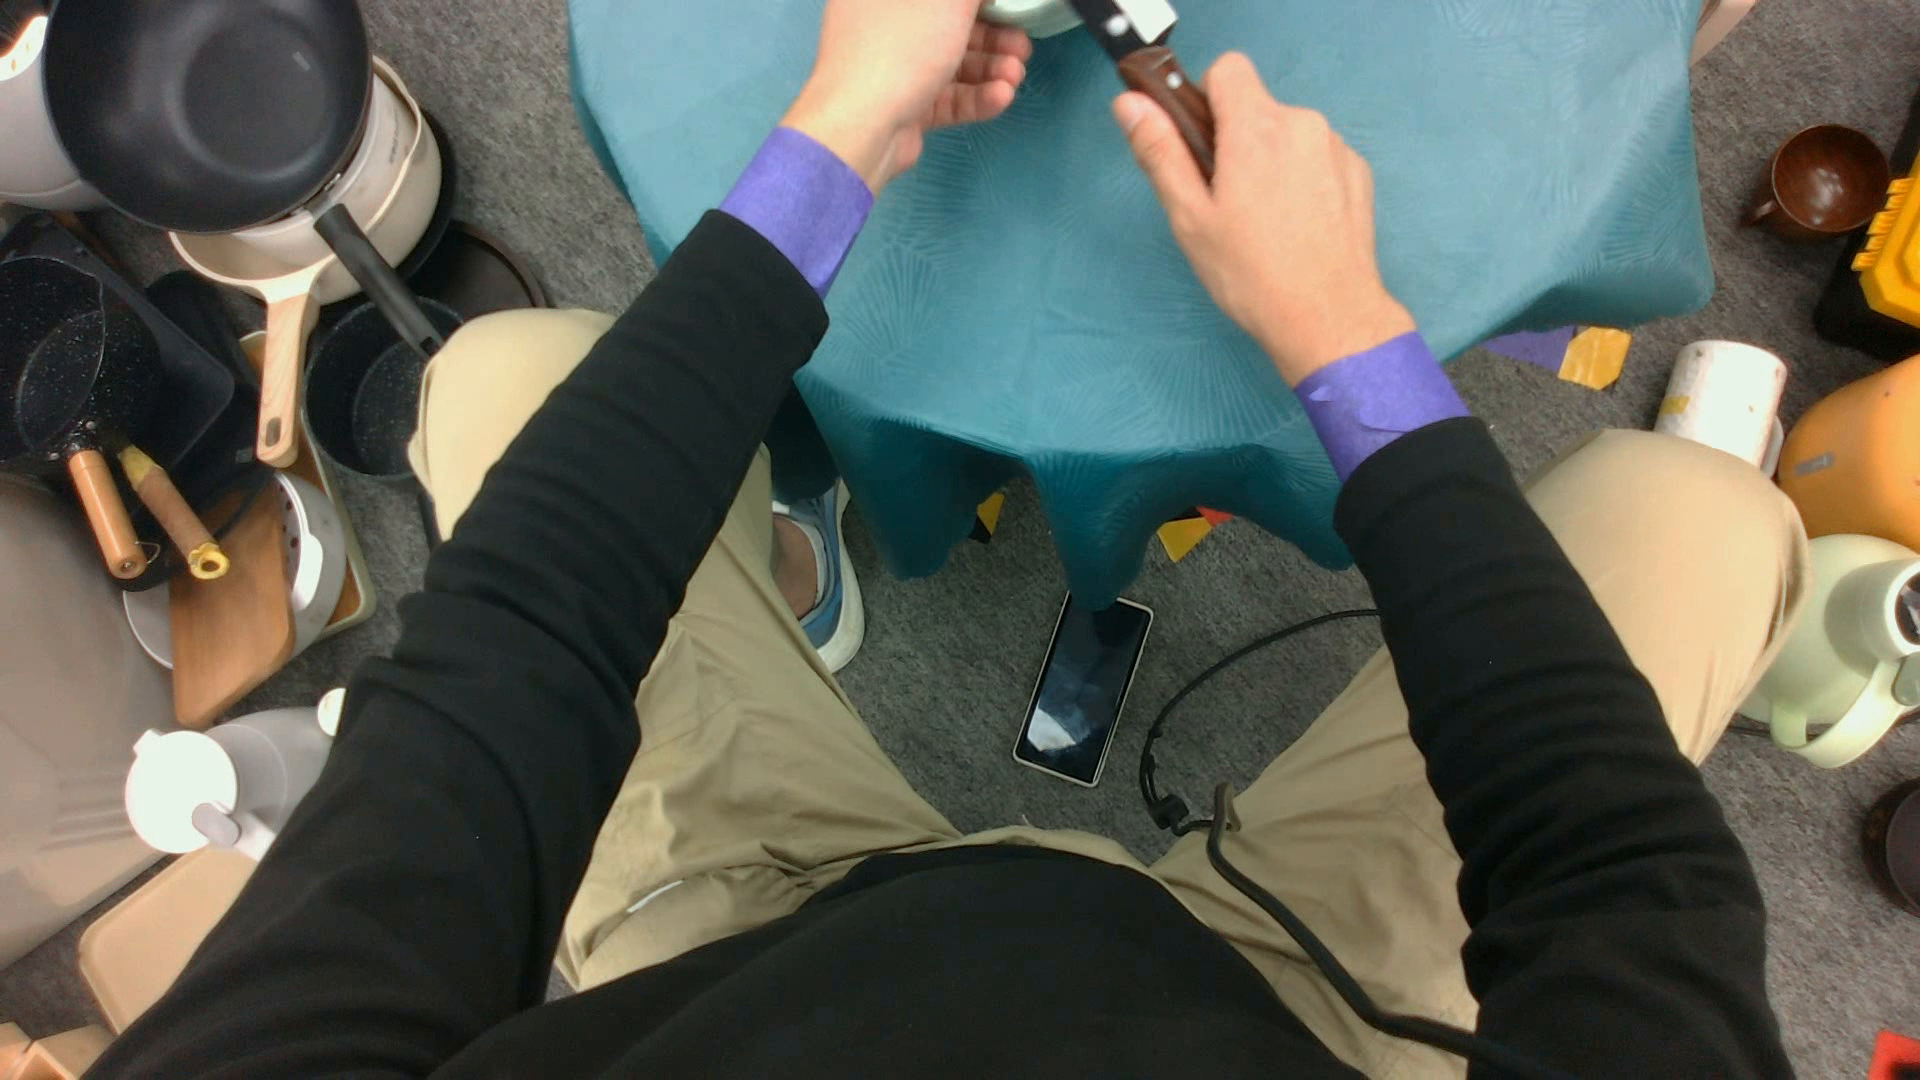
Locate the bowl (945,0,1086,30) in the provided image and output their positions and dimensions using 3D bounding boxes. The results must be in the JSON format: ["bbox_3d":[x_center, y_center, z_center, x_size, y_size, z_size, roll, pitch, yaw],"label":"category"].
[{"bbox_3d":[0.034,-0.309,0.676,0.151,0.058,0.152,-4,71,13],"label":"bowl"}]

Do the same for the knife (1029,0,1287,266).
[{"bbox_3d":[0.054,-0.238,0.616,0.289,0.020,0.050,48,63,-12],"label":"knife"}]
